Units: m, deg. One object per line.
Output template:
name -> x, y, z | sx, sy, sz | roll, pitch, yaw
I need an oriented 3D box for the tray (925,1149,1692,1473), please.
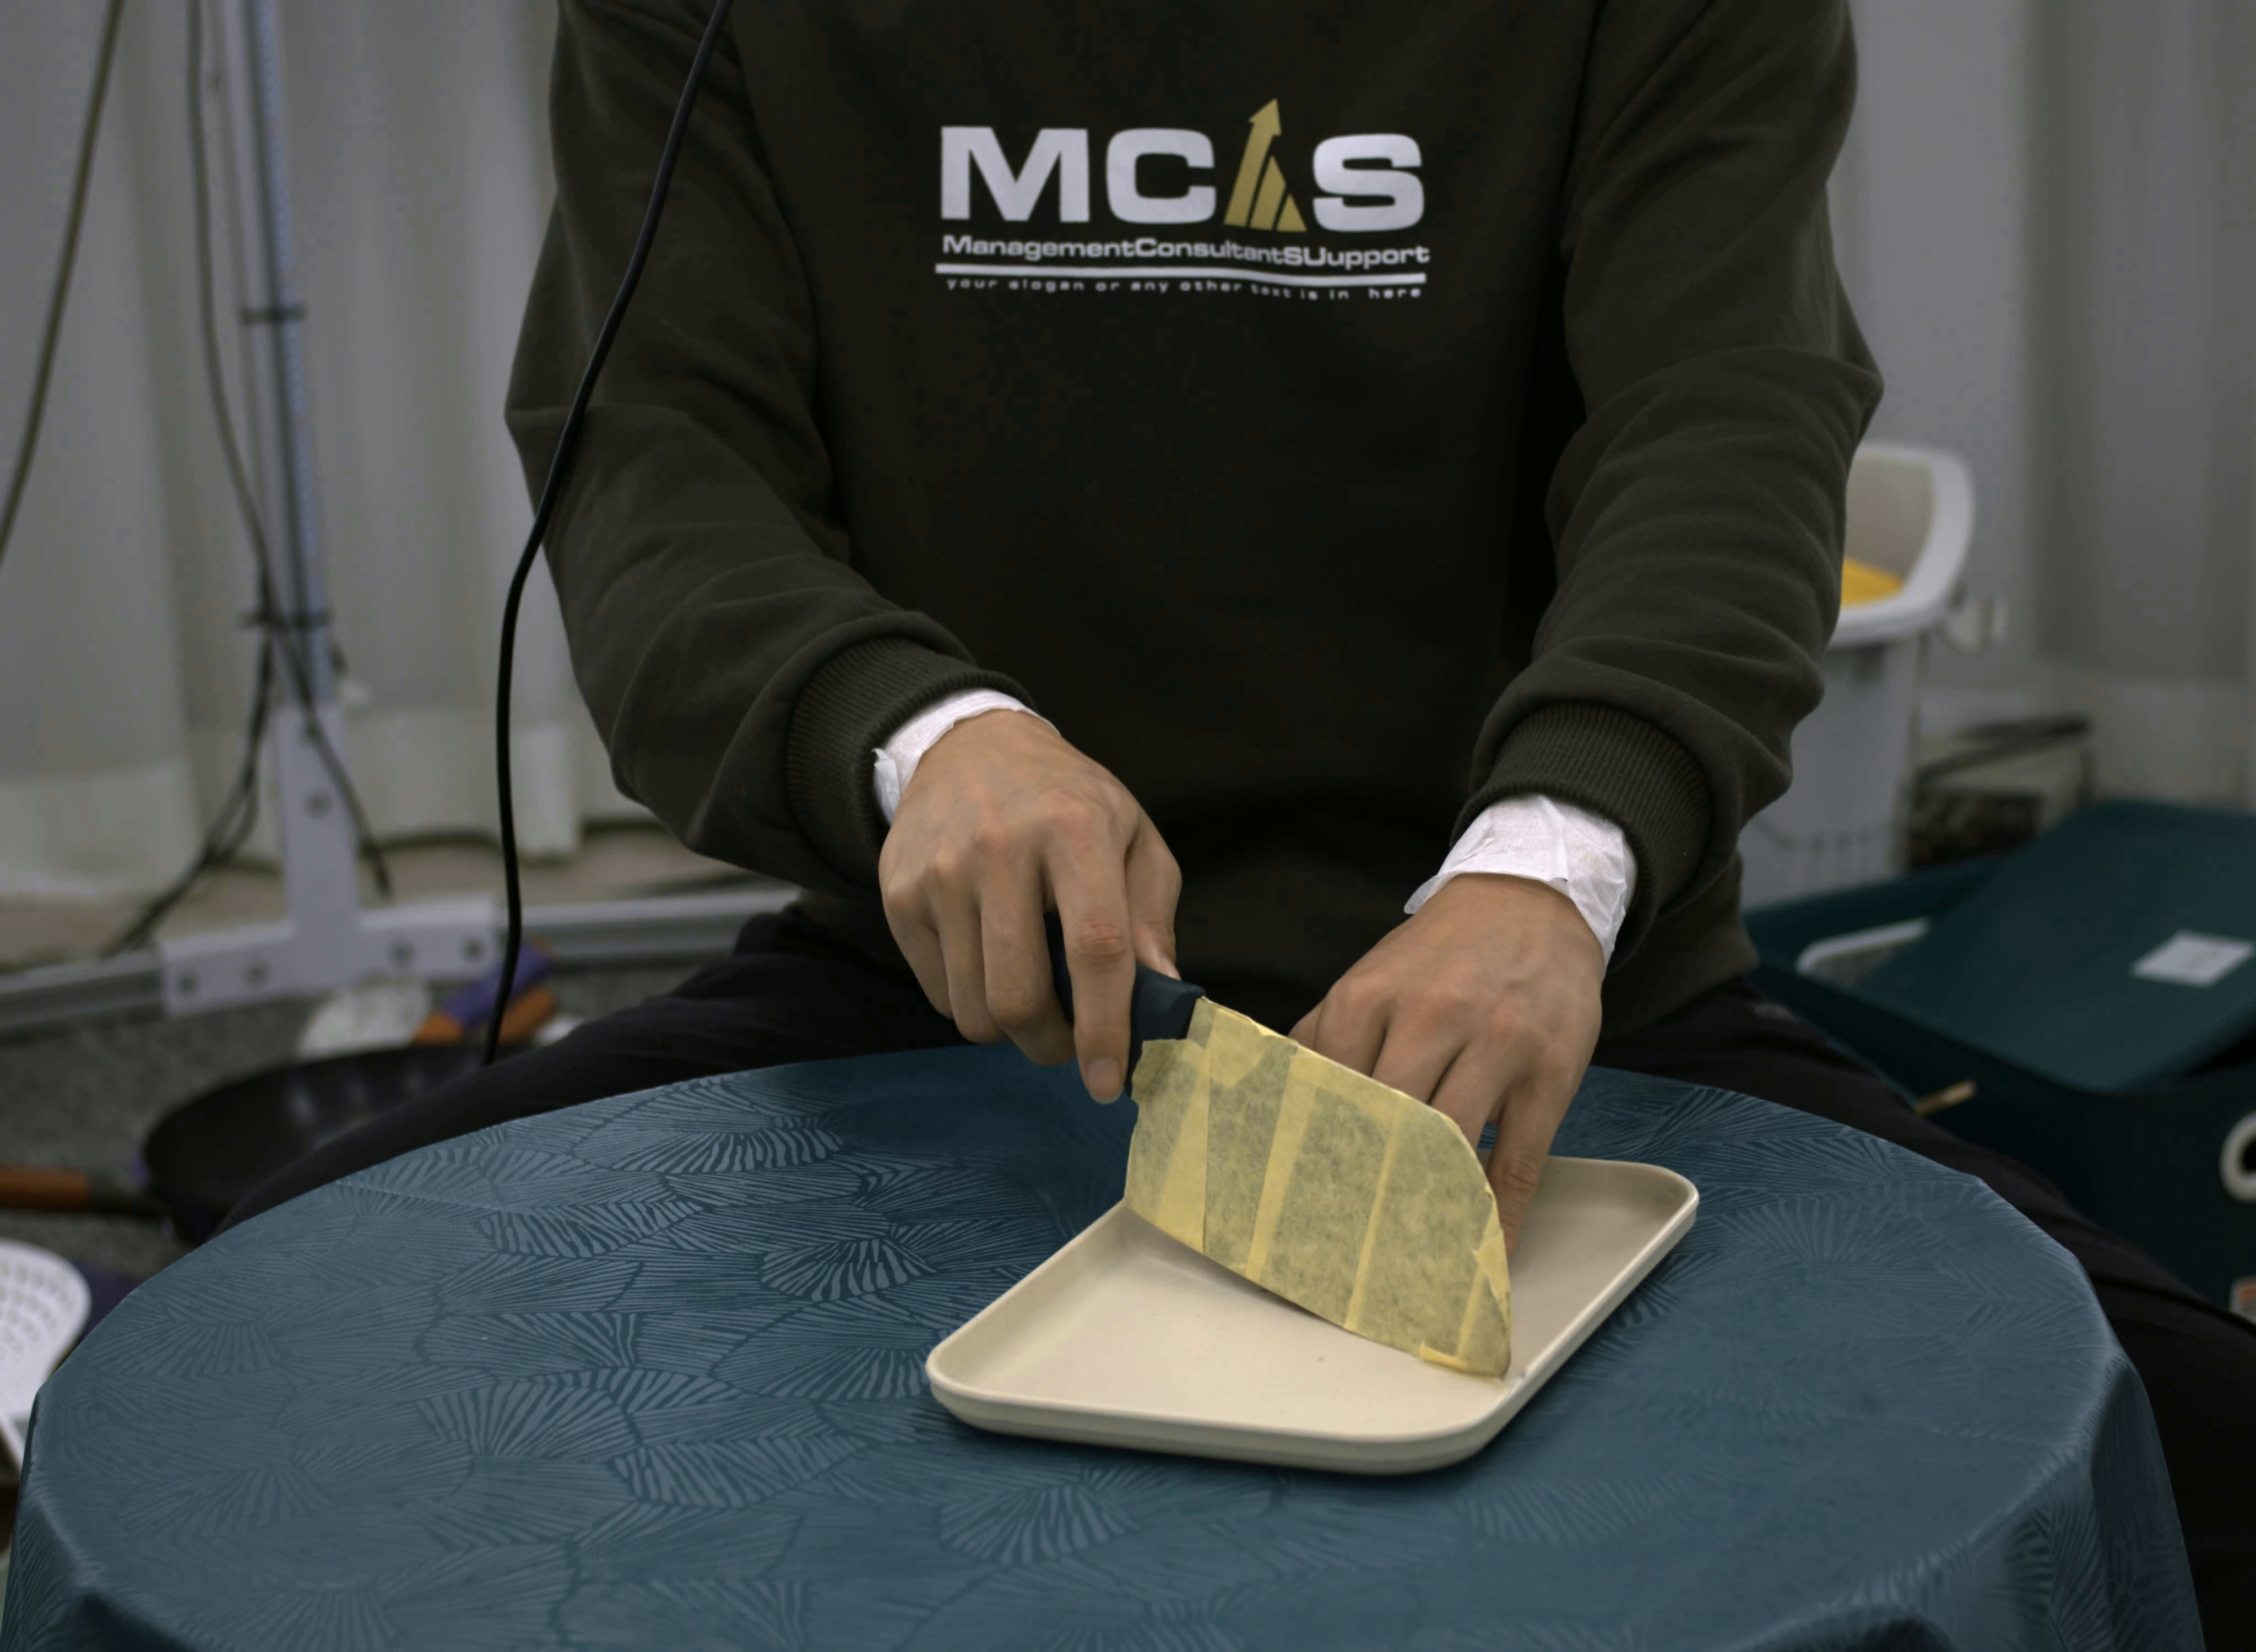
tray -> 0.057, 0.137, 1.587 | 0.171, 0.017, 0.240 | 3, 16, 23

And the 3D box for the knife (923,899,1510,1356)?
knife -> 0.022, 0.086, 1.634 | 0.027, 0.081, 0.292 | 9, 13, -39
